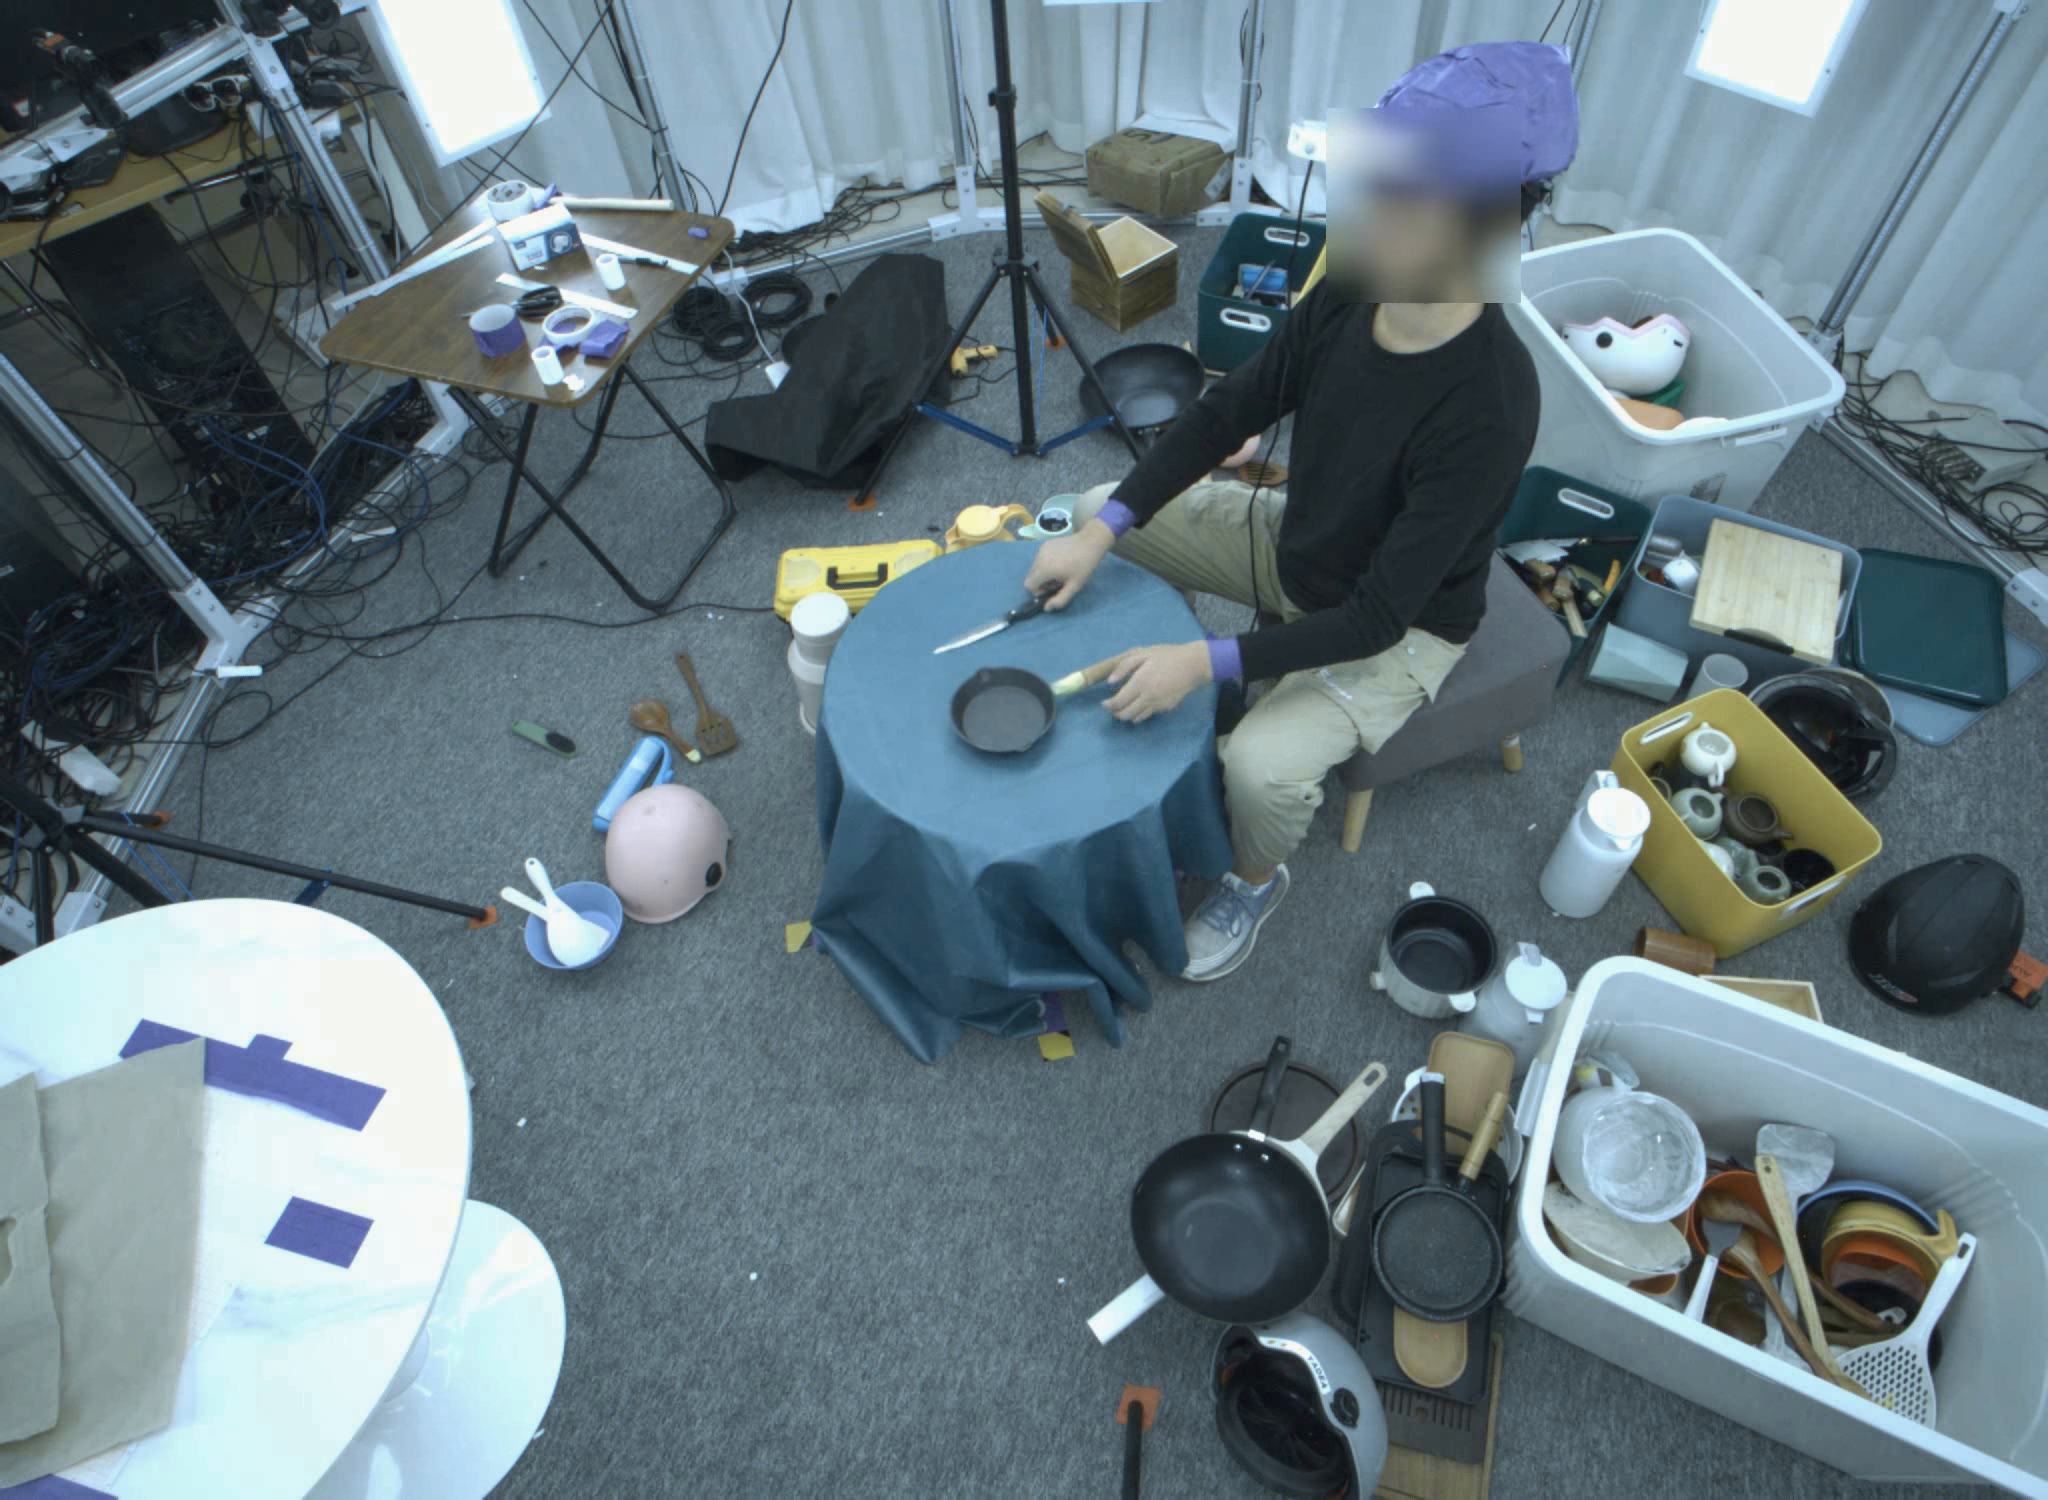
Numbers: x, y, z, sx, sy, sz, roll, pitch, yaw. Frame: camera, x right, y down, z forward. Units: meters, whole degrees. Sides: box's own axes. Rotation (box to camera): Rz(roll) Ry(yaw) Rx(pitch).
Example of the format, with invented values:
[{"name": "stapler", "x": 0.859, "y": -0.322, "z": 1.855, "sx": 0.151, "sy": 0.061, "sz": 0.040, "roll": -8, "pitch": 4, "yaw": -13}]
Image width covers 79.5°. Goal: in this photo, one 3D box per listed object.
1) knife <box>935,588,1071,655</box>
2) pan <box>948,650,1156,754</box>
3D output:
[{"name": "knife", "x": -0.035, "y": -0.201, "z": 1.921, "sx": 0.240, "sy": 0.016, "sz": 0.024, "roll": -27, "pitch": 61, "yaw": -13}, {"name": "pan", "x": 0.047, "y": -0.085, "z": 1.814, "sx": 0.326, "sy": 0.050, "sz": 0.166, "roll": -18, "pitch": 56, "yaw": -12}]
